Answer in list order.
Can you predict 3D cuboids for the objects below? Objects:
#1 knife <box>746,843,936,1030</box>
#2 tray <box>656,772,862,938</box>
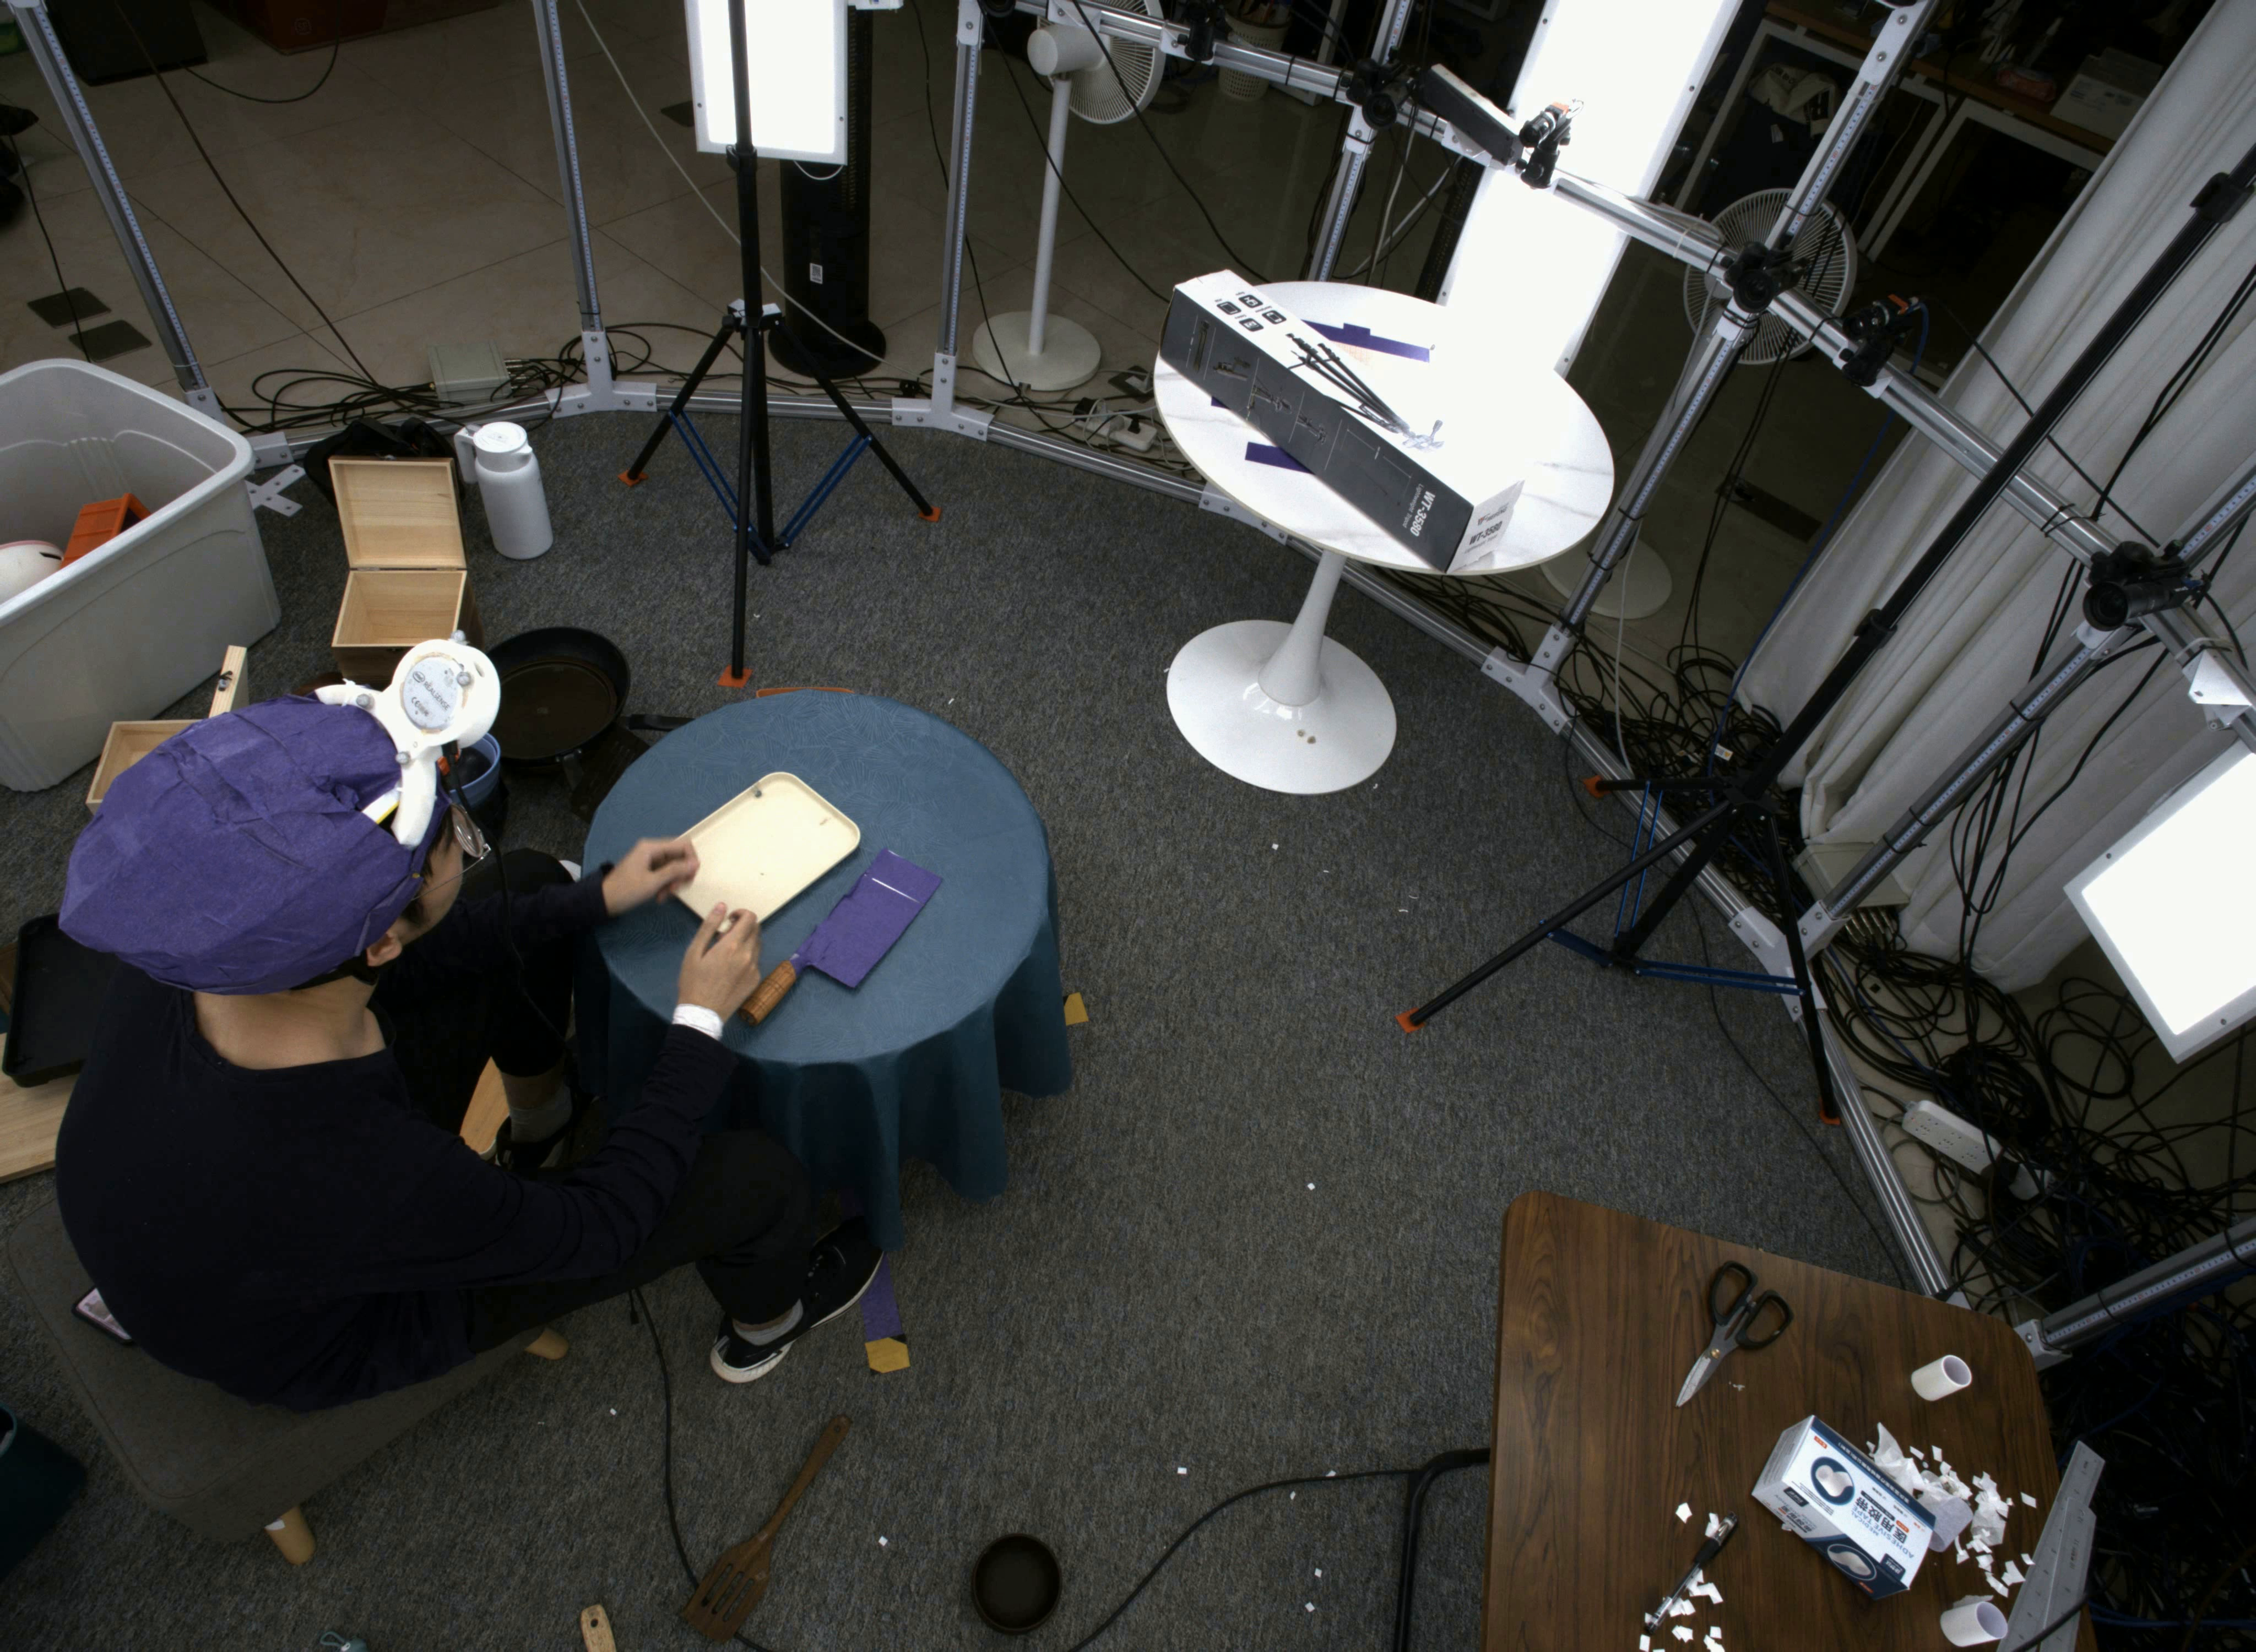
[{"bbox_3d":[-0.351,0.141,1.632,0.102,0.033,0.313,27,52,7],"label":"knife"},{"bbox_3d":[-0.478,0.034,1.685,0.168,0.018,0.240,38,54,14],"label":"tray"}]
